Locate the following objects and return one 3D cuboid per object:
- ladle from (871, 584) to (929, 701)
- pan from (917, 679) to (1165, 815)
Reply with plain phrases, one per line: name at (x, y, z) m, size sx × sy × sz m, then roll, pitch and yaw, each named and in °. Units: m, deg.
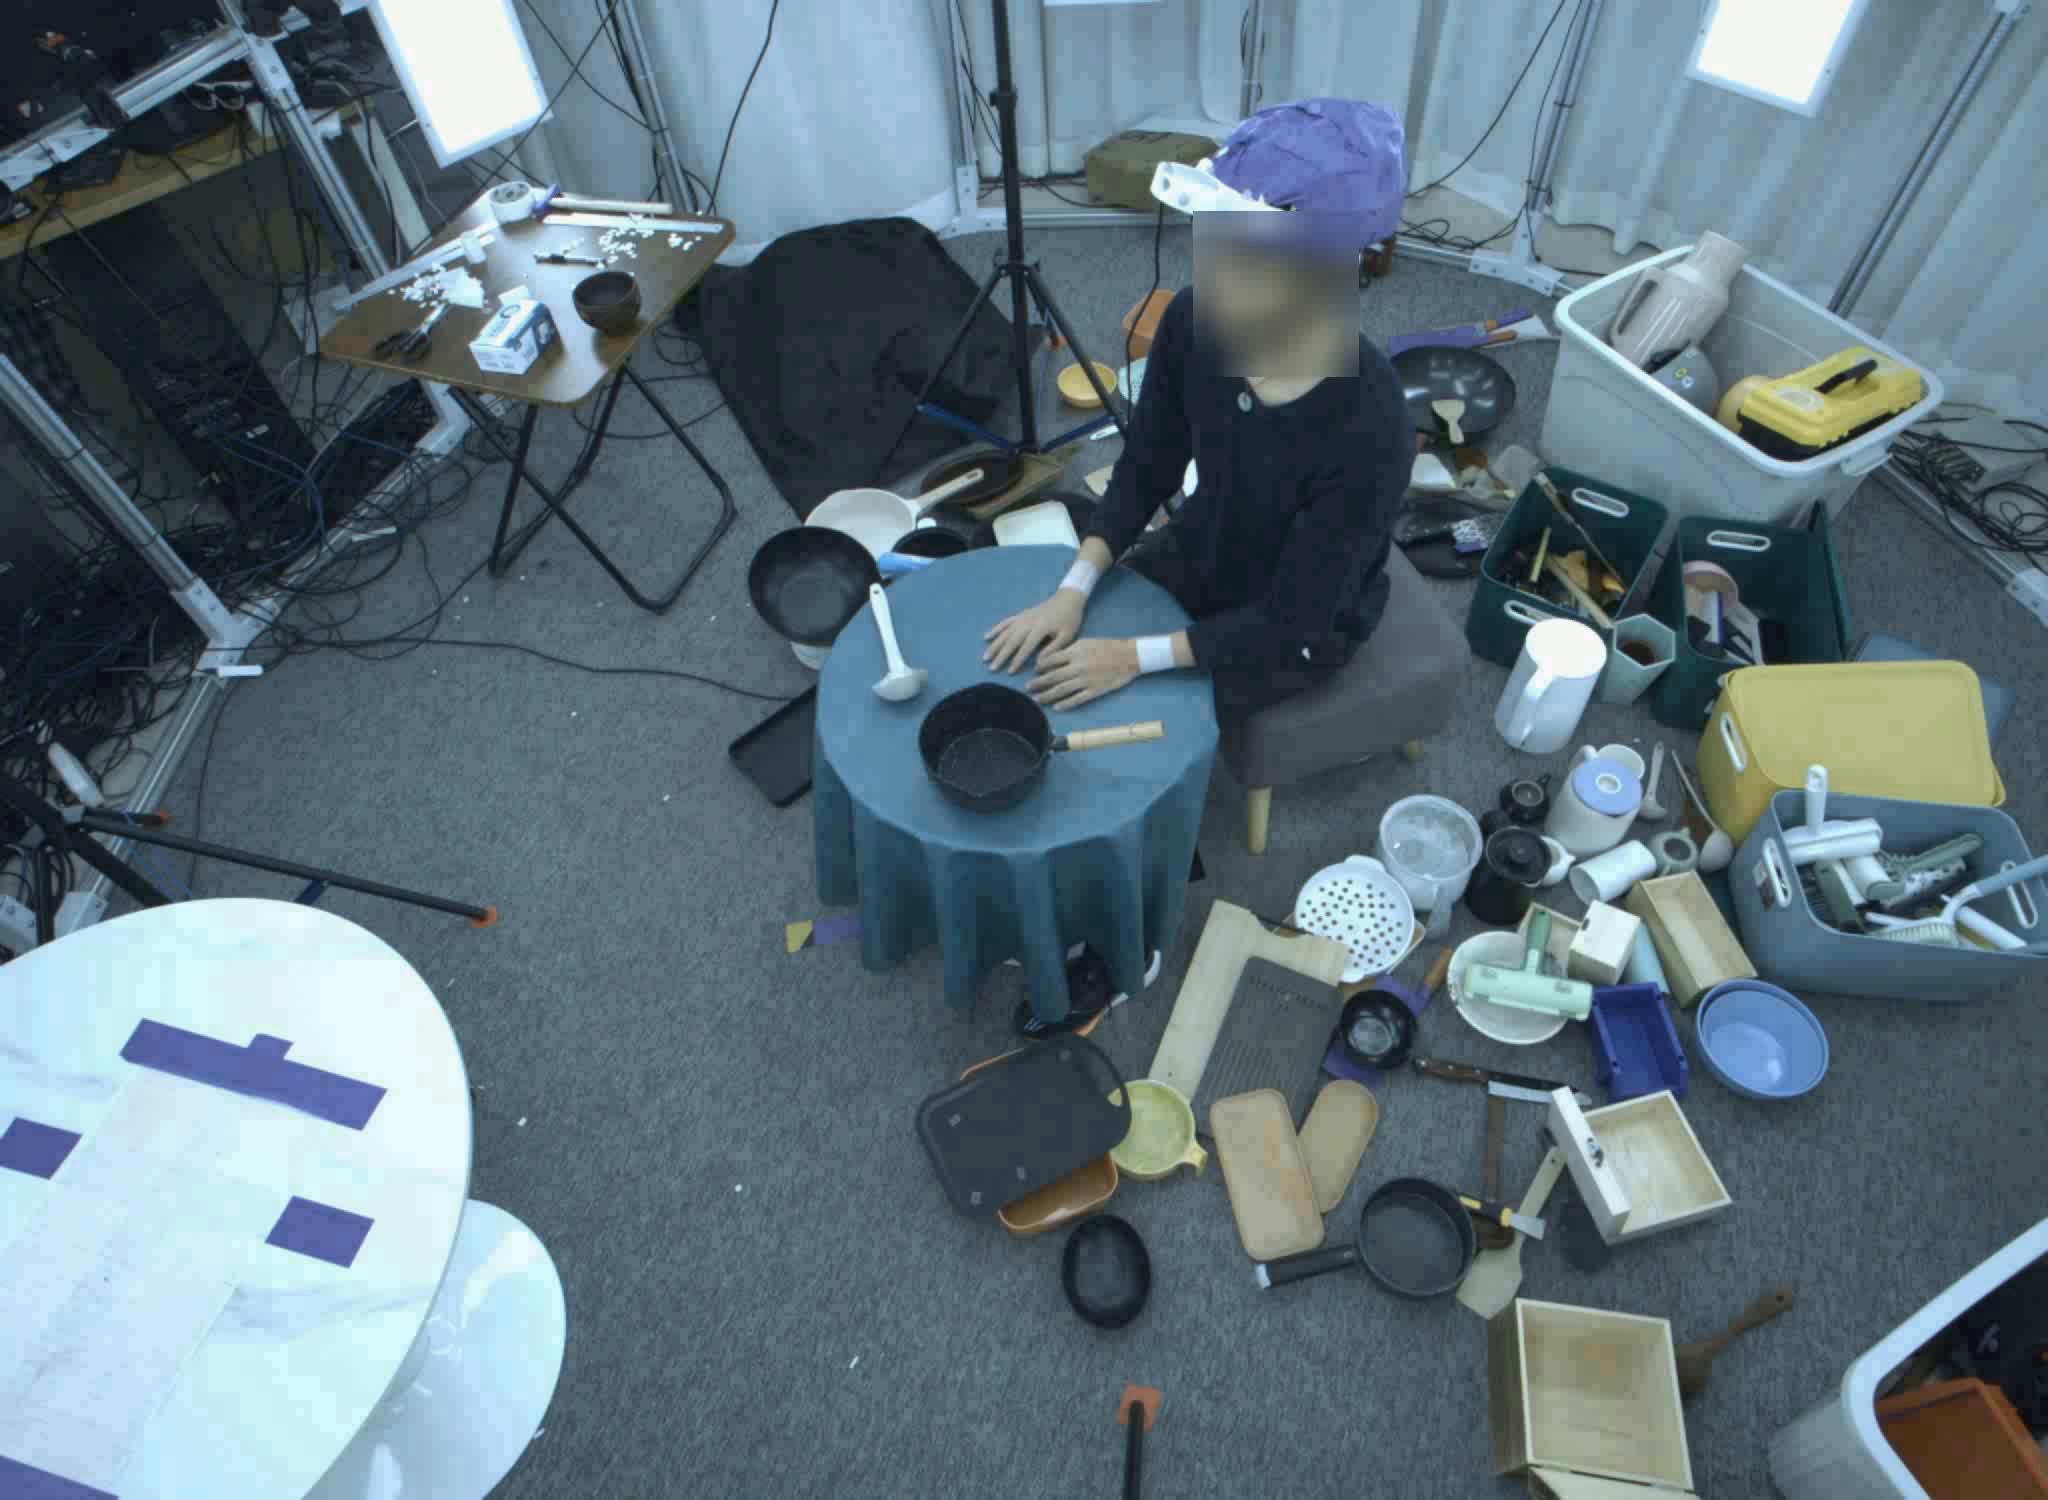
ladle at (-0.212, -0.185, 1.888) m, size 0.089 × 0.070 × 0.270 m, roll -19°, pitch 54°, yaw 0°
pan at (0.026, -0.003, 1.722) m, size 0.342 × 0.109 × 0.205 m, roll -2°, pitch 54°, yaw 3°
